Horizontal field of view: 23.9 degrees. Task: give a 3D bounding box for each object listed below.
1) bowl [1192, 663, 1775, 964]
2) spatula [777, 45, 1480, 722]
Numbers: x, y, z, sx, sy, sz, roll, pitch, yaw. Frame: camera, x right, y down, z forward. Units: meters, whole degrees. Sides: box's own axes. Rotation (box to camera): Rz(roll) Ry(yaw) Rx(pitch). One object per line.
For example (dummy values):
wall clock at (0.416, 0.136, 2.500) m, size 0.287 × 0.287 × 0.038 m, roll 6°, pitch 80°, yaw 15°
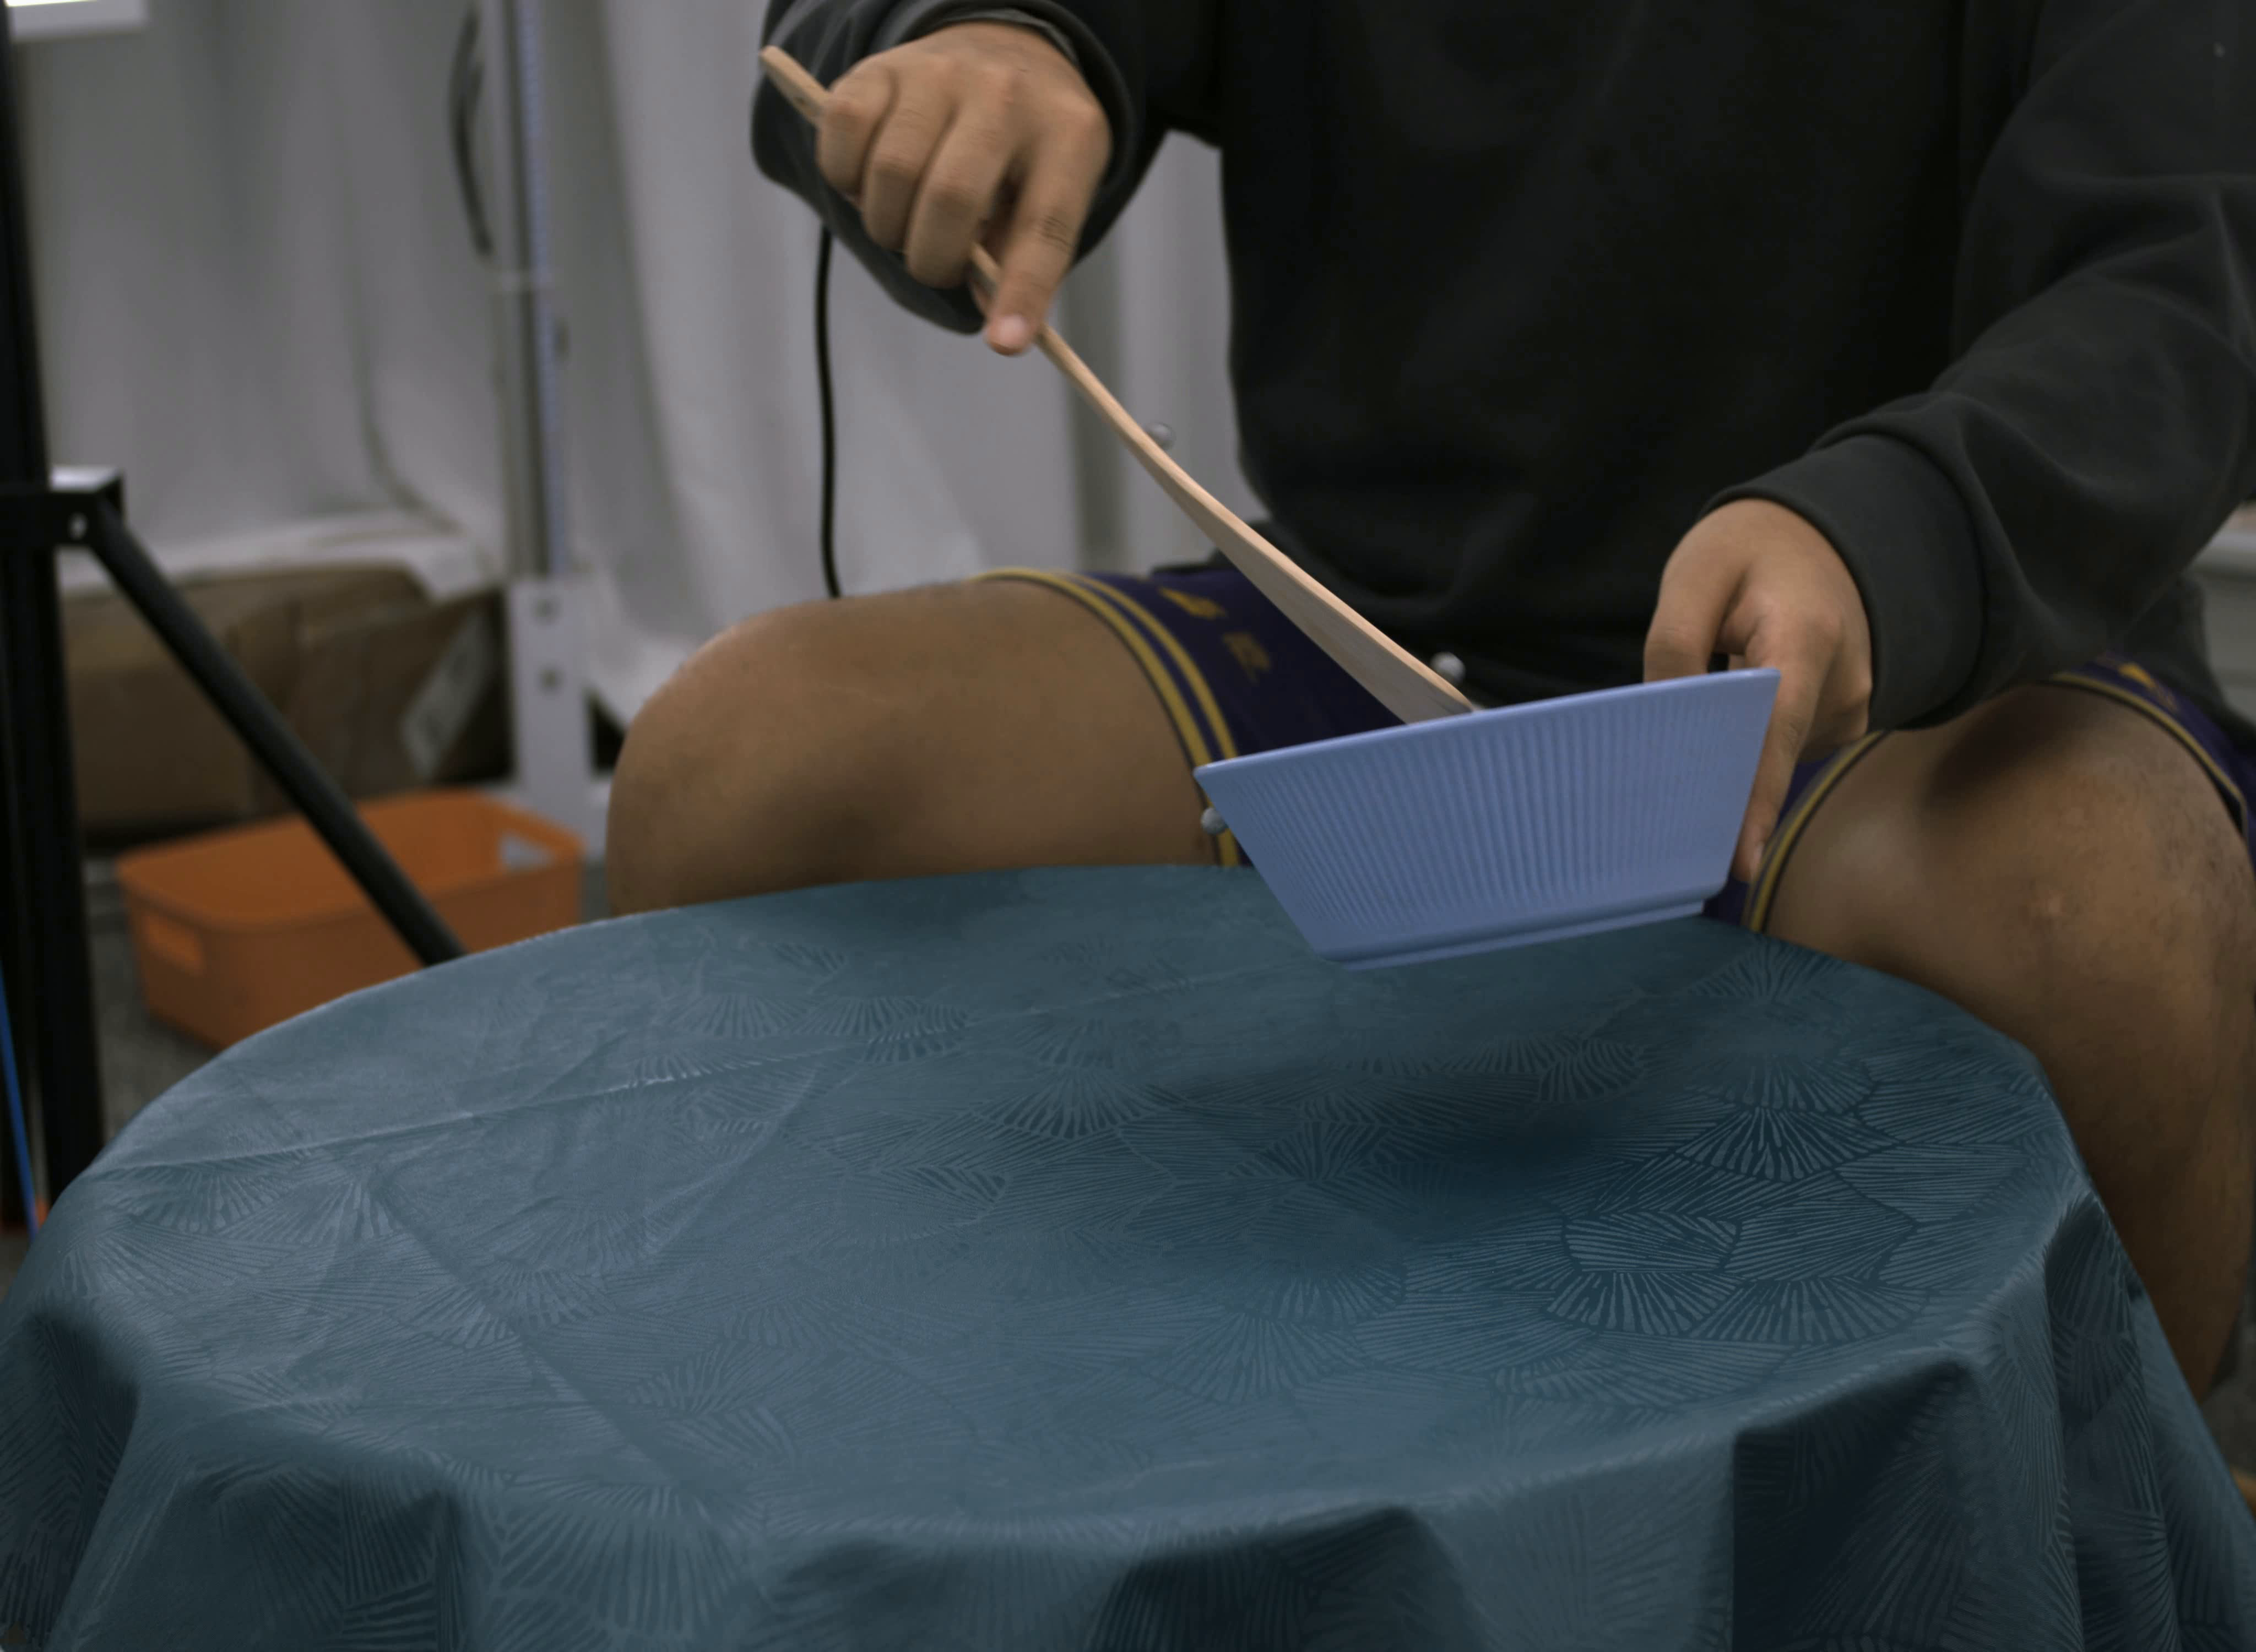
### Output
bowl at (0.110, -0.001, 1.574) m, size 0.175 × 0.071 × 0.176 m, roll -10°, pitch -2°, yaw -2°
spatula at (-0.001, -0.130, 1.620) m, size 0.016 × 0.333 × 0.079 m, roll -40°, pitch -22°, yaw -5°
